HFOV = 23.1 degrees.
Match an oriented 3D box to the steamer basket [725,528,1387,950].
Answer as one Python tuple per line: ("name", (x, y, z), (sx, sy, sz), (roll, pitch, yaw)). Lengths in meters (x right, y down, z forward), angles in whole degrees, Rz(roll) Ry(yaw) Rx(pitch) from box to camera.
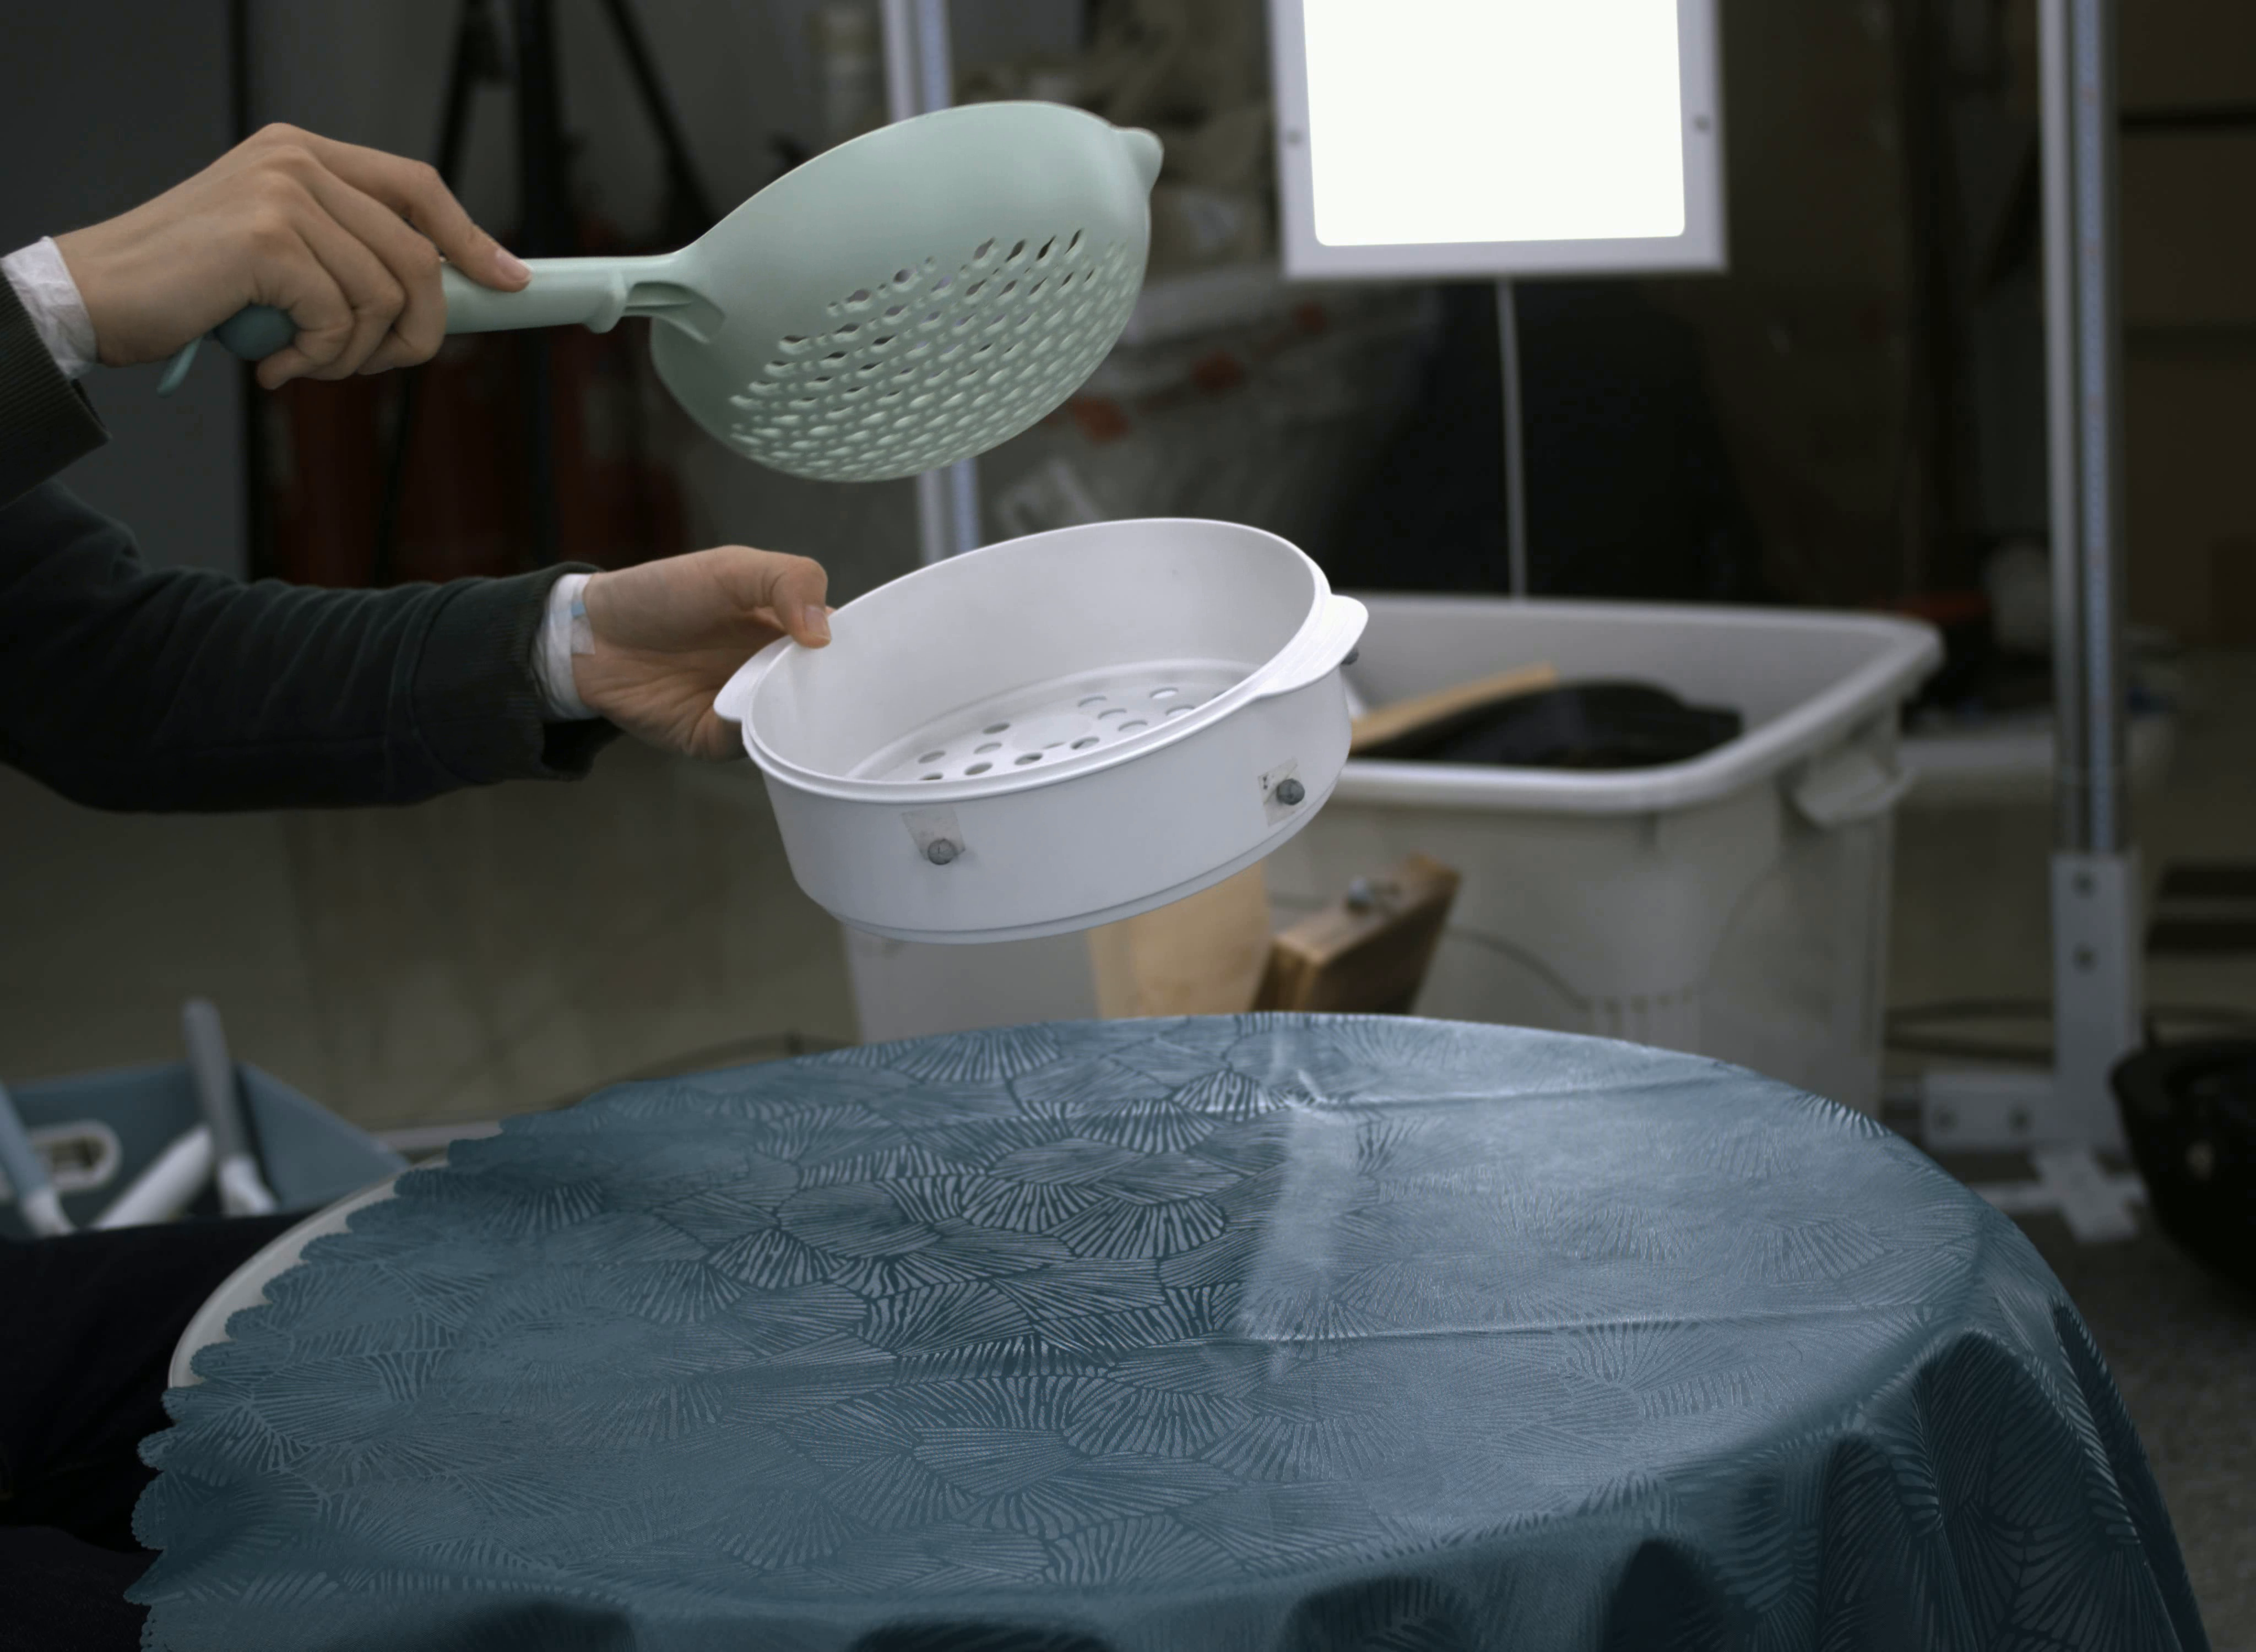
("steamer basket", (-0.020, -0.029, 1.827), (0.234, 0.069, 0.198), (-3, 26, 26))

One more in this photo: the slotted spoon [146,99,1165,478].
("slotted spoon", (-0.143, -0.160, 1.710), (0.350, 0.076, 0.172), (0, -33, -31))
